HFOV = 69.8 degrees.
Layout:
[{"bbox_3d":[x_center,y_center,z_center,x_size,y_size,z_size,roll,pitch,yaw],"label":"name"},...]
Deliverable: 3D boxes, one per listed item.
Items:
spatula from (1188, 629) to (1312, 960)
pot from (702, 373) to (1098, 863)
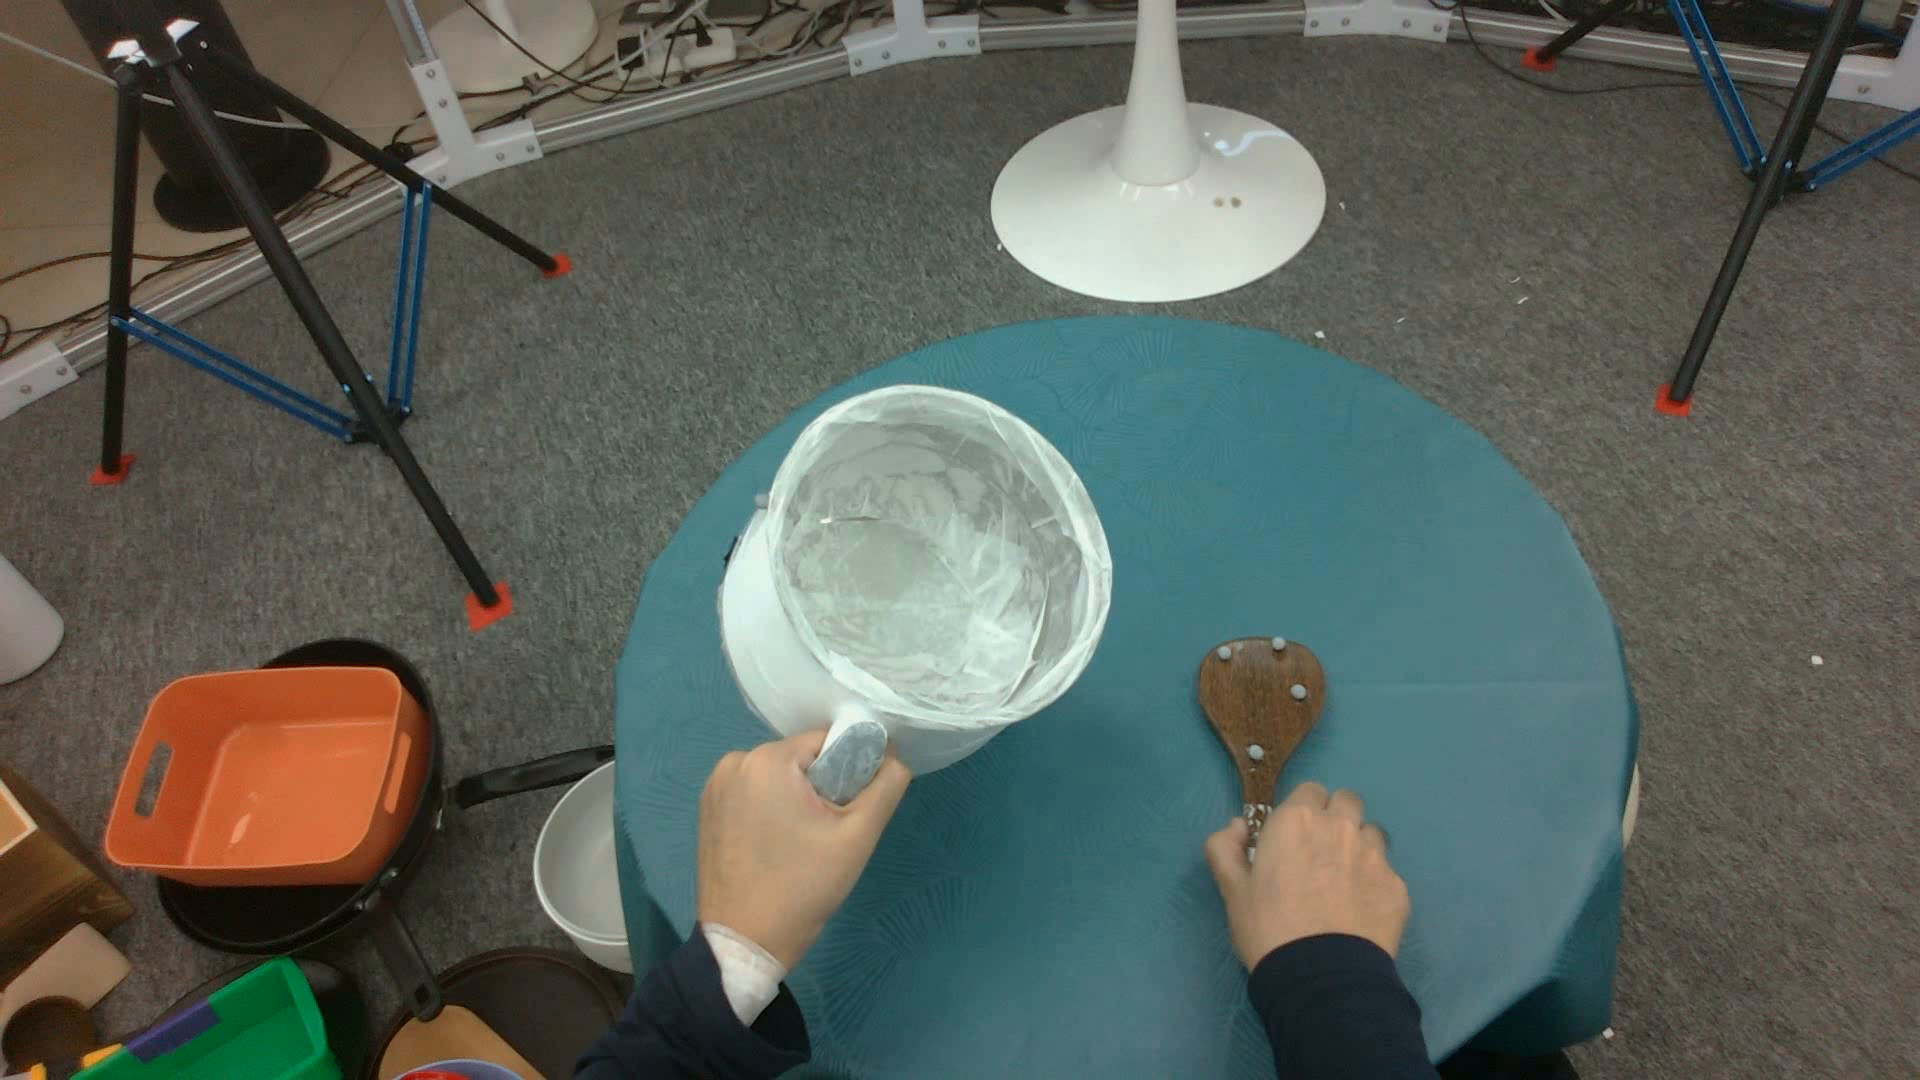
[{"bbox_3d":[0.158,0.129,0.747,0.072,0.009,0.217,-7,43,18],"label":"spatula"},{"bbox_3d":[-0.044,0.046,0.697,0.179,0.136,0.235,26,59,-9],"label":"pot"}]
